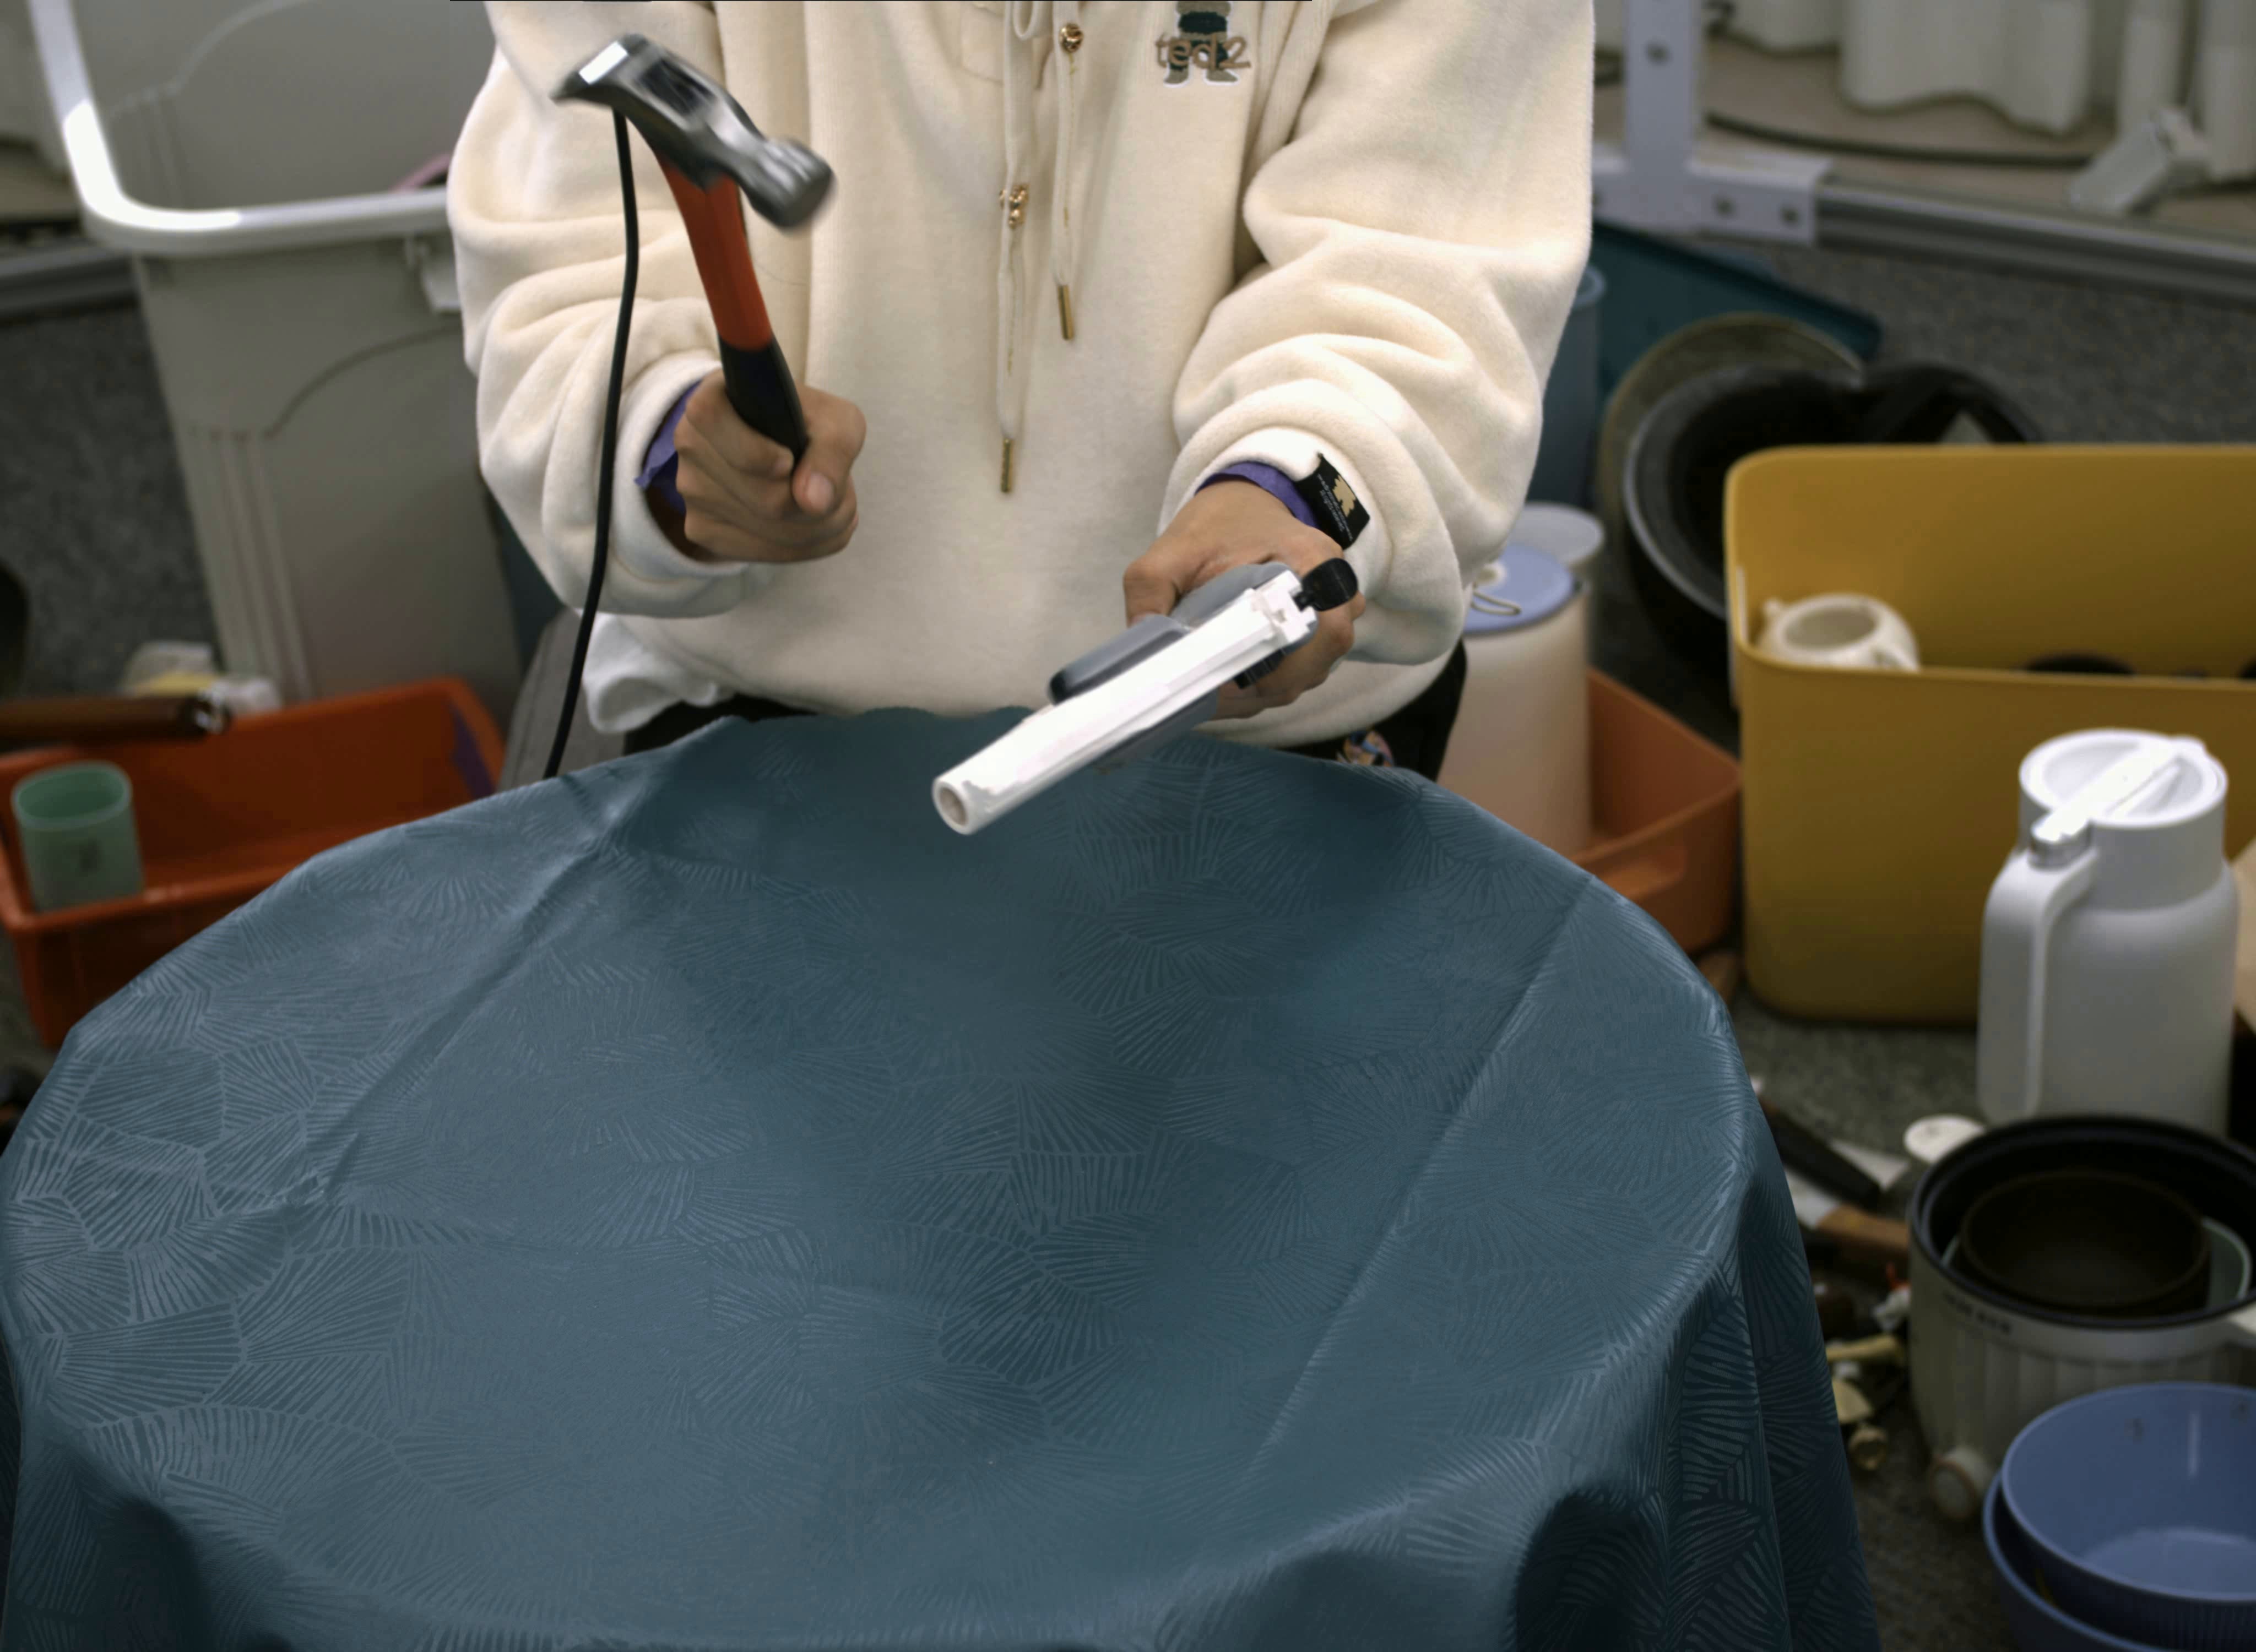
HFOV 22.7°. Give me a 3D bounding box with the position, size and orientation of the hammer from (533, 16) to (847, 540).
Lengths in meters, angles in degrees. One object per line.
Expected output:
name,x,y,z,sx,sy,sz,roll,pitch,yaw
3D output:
hammer,-0.131,-0.177,1.892,0.110,0.274,0.027,27,68,20

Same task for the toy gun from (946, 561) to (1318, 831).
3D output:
toy gun,-0.002,-0.044,1.832,0.212,0.039,0.140,-31,7,-34
